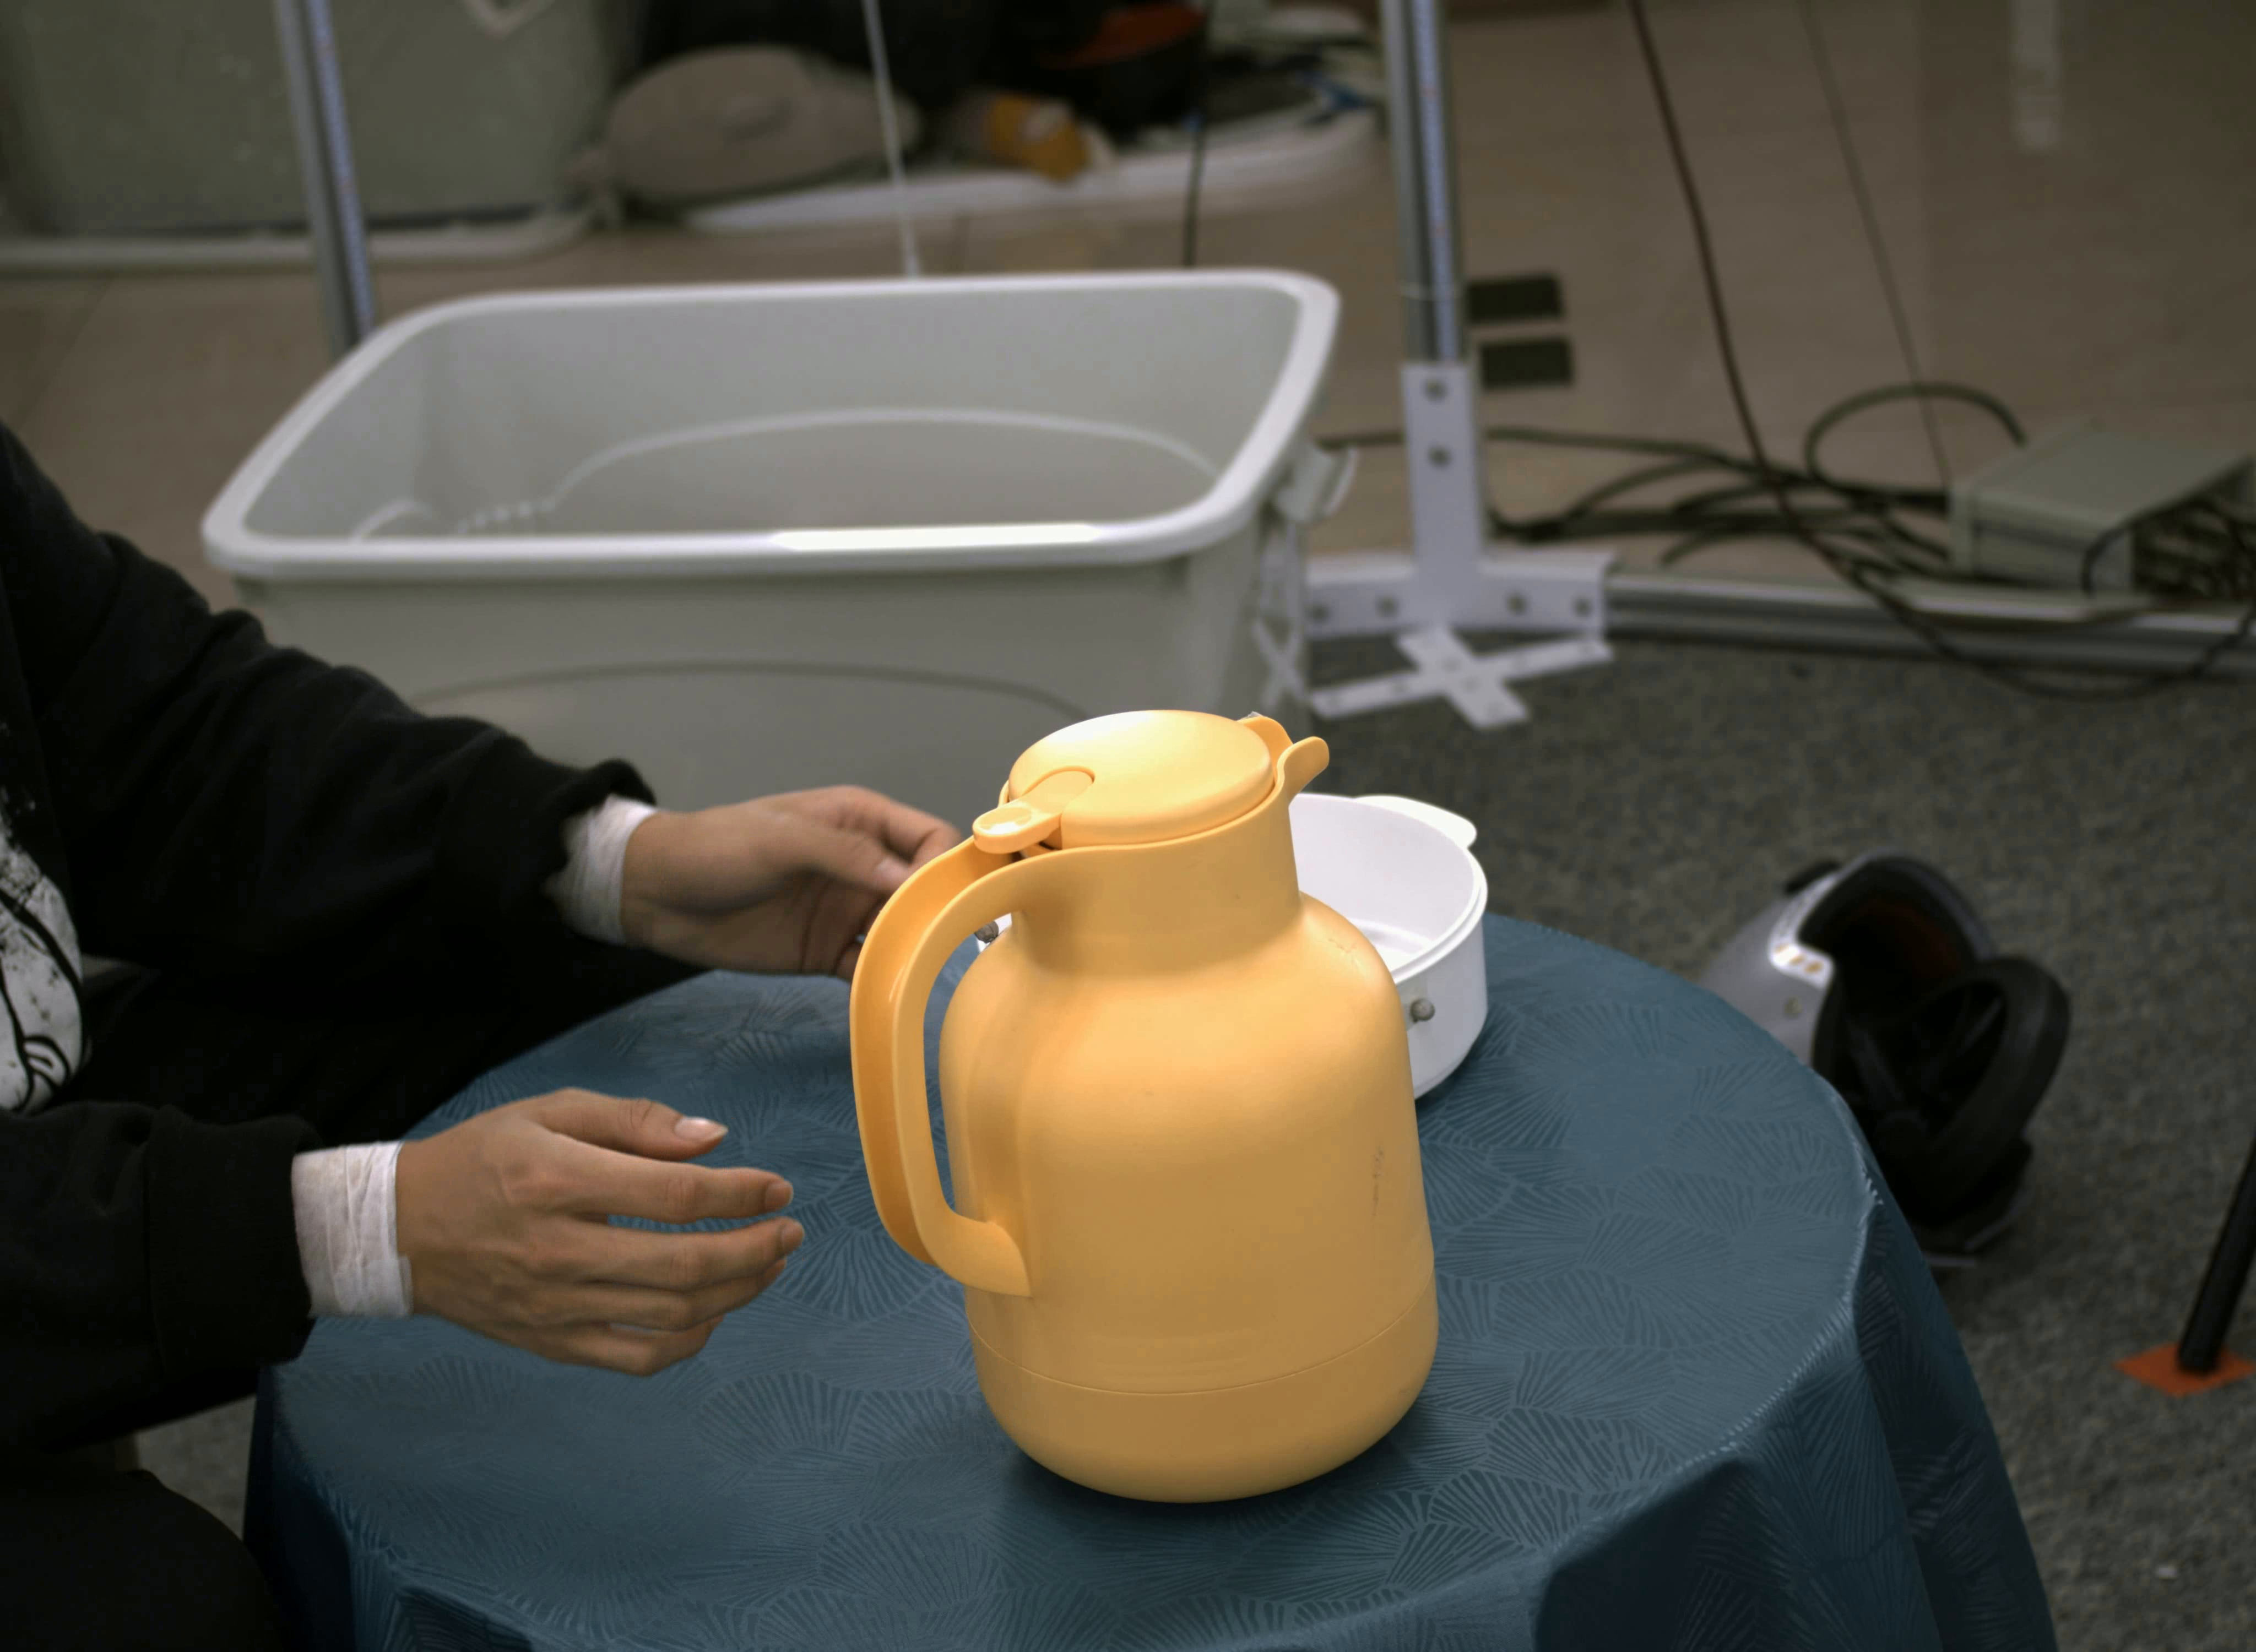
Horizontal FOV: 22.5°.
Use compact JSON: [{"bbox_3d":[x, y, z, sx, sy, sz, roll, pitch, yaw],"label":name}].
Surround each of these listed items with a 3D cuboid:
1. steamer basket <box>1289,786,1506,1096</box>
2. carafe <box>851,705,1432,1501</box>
[{"bbox_3d":[0.046,0.047,2.231,0.229,0.070,0.200,-15,29,-39],"label":"steamer basket"},{"bbox_3d":[0.000,0.095,1.927,0.201,0.264,0.162,-20,26,-30],"label":"carafe"}]
